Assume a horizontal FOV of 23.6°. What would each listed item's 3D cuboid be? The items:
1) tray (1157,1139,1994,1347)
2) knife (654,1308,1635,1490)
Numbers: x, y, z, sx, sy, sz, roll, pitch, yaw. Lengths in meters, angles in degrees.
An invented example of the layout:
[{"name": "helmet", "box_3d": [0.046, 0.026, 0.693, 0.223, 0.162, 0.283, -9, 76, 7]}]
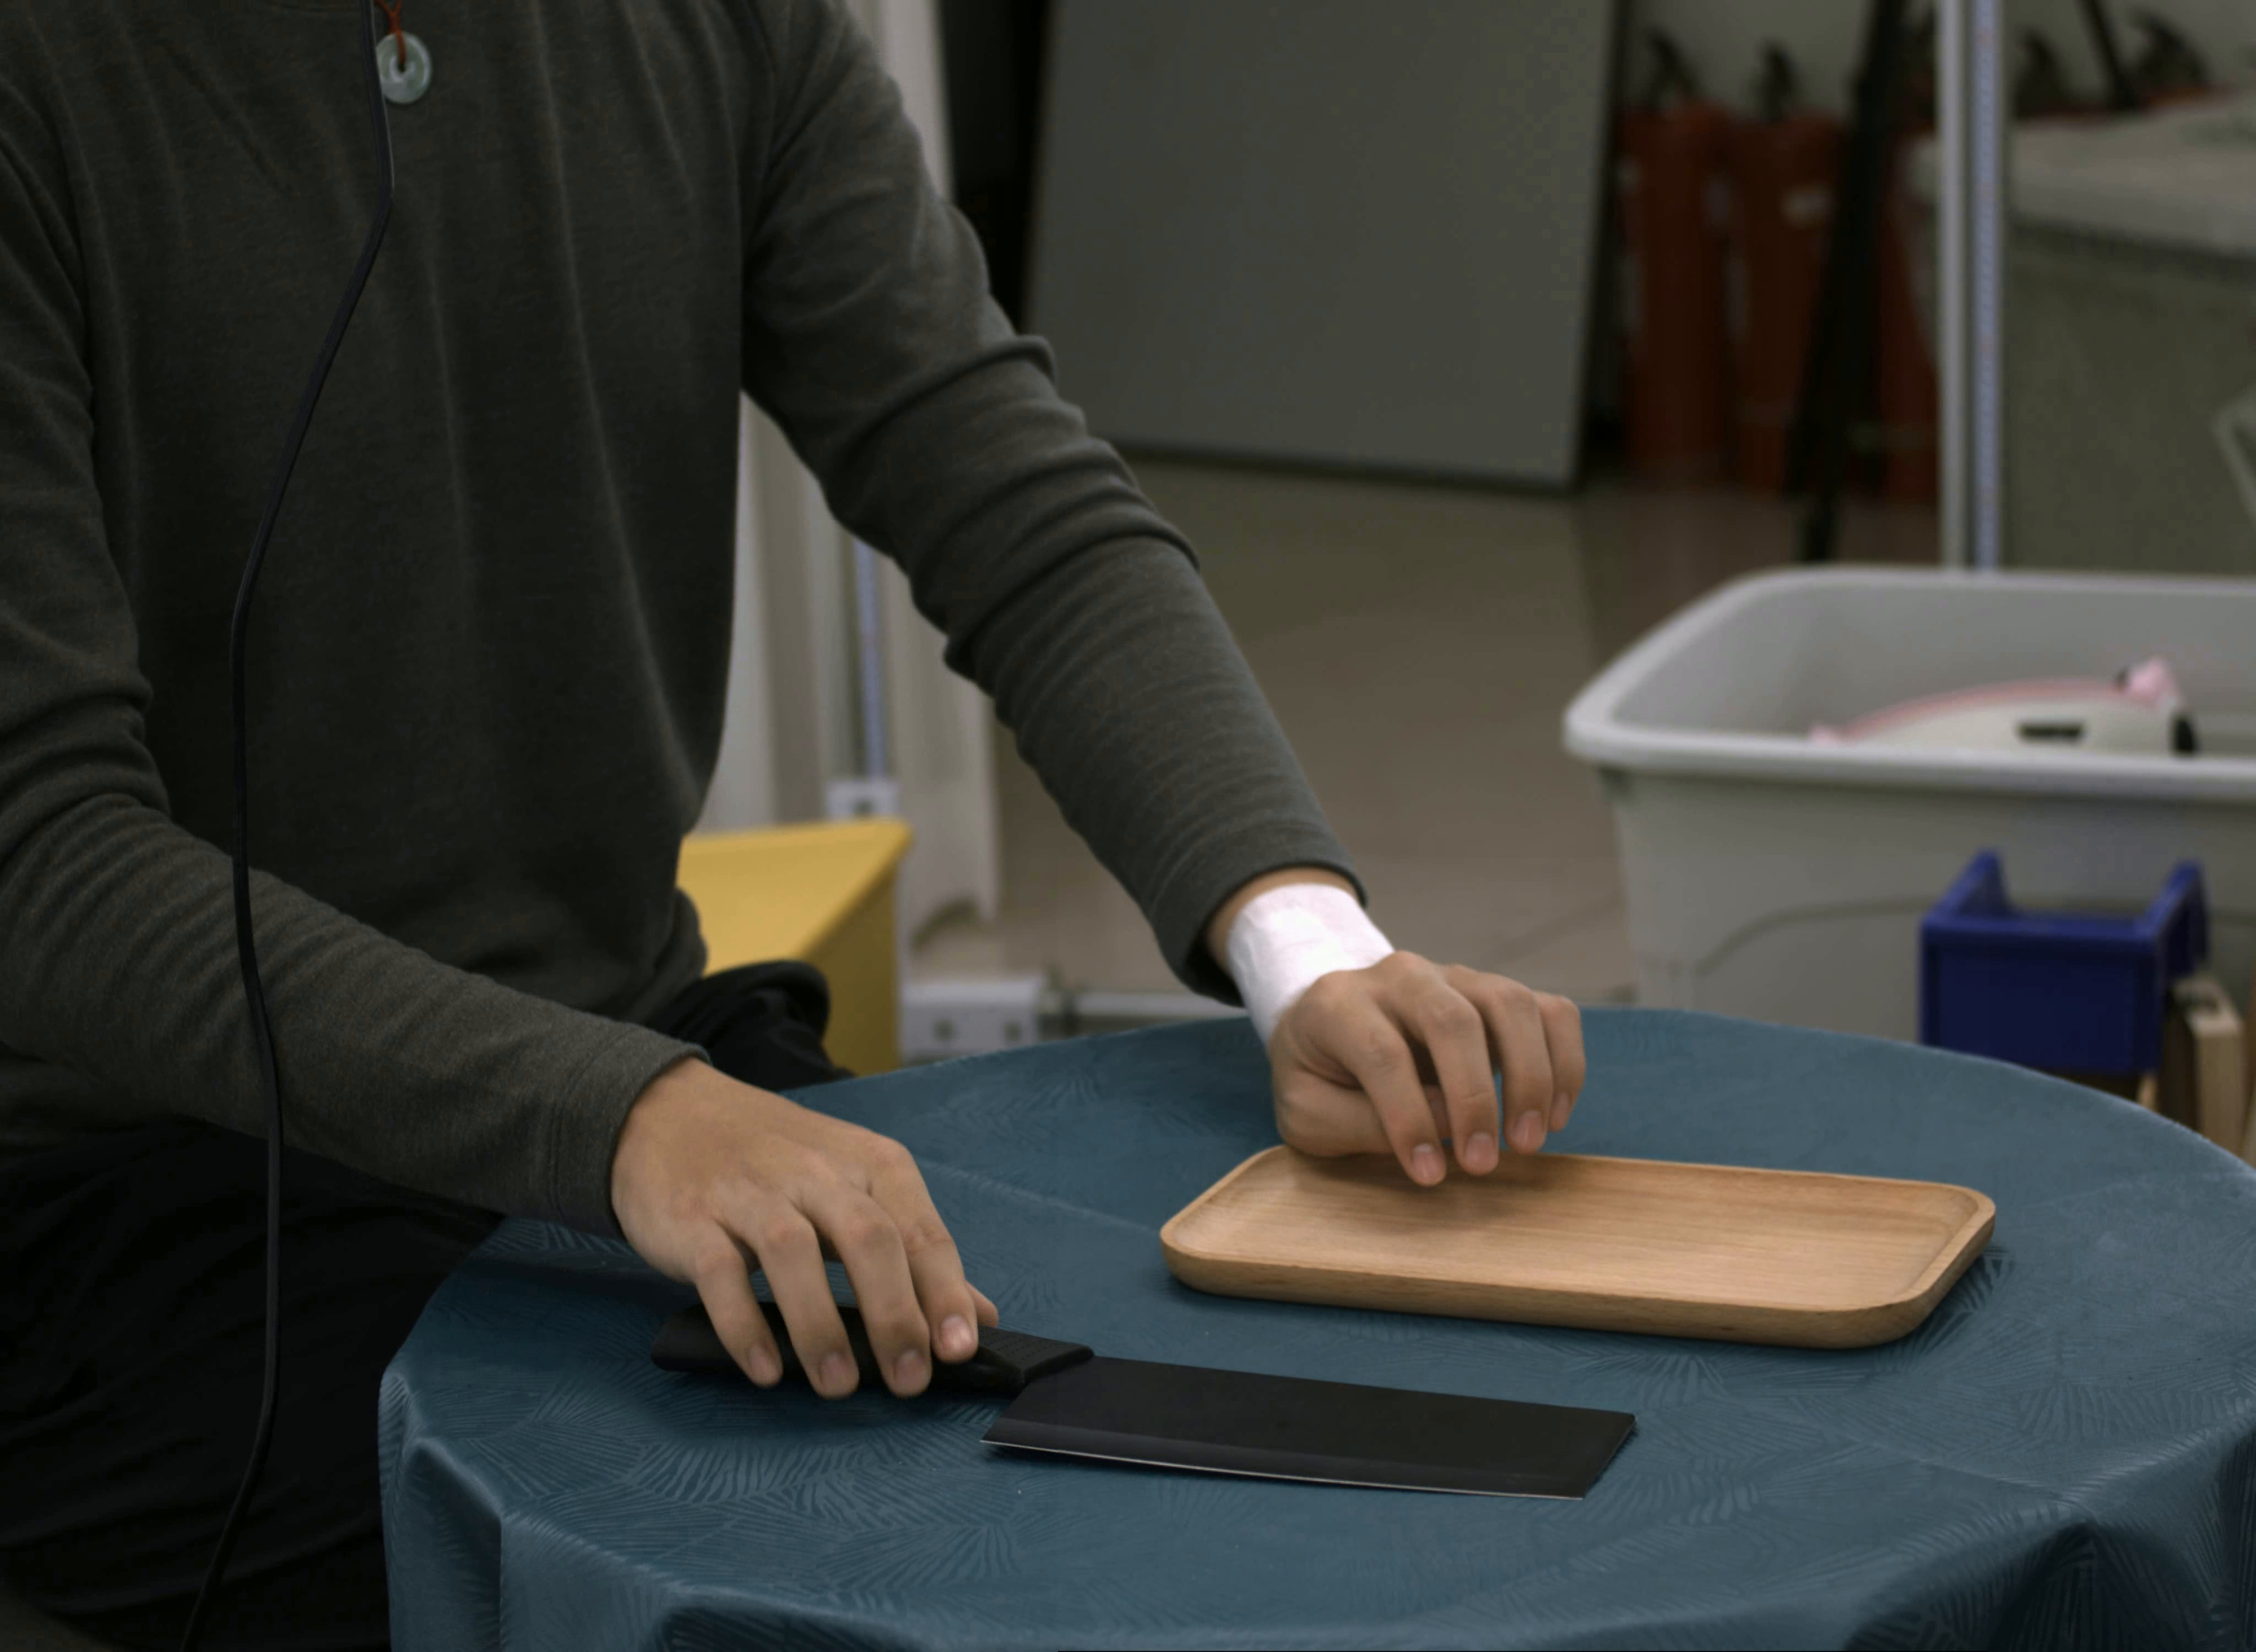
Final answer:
[{"name": "tray", "box_3d": [0.138, 0.128, 1.671, 0.251, 0.023, 0.129, 2, 12, 27]}, {"name": "knife", "box_3d": [-0.001, 0.167, 1.559, 0.303, 0.021, 0.080, 4, 18, 26]}]
